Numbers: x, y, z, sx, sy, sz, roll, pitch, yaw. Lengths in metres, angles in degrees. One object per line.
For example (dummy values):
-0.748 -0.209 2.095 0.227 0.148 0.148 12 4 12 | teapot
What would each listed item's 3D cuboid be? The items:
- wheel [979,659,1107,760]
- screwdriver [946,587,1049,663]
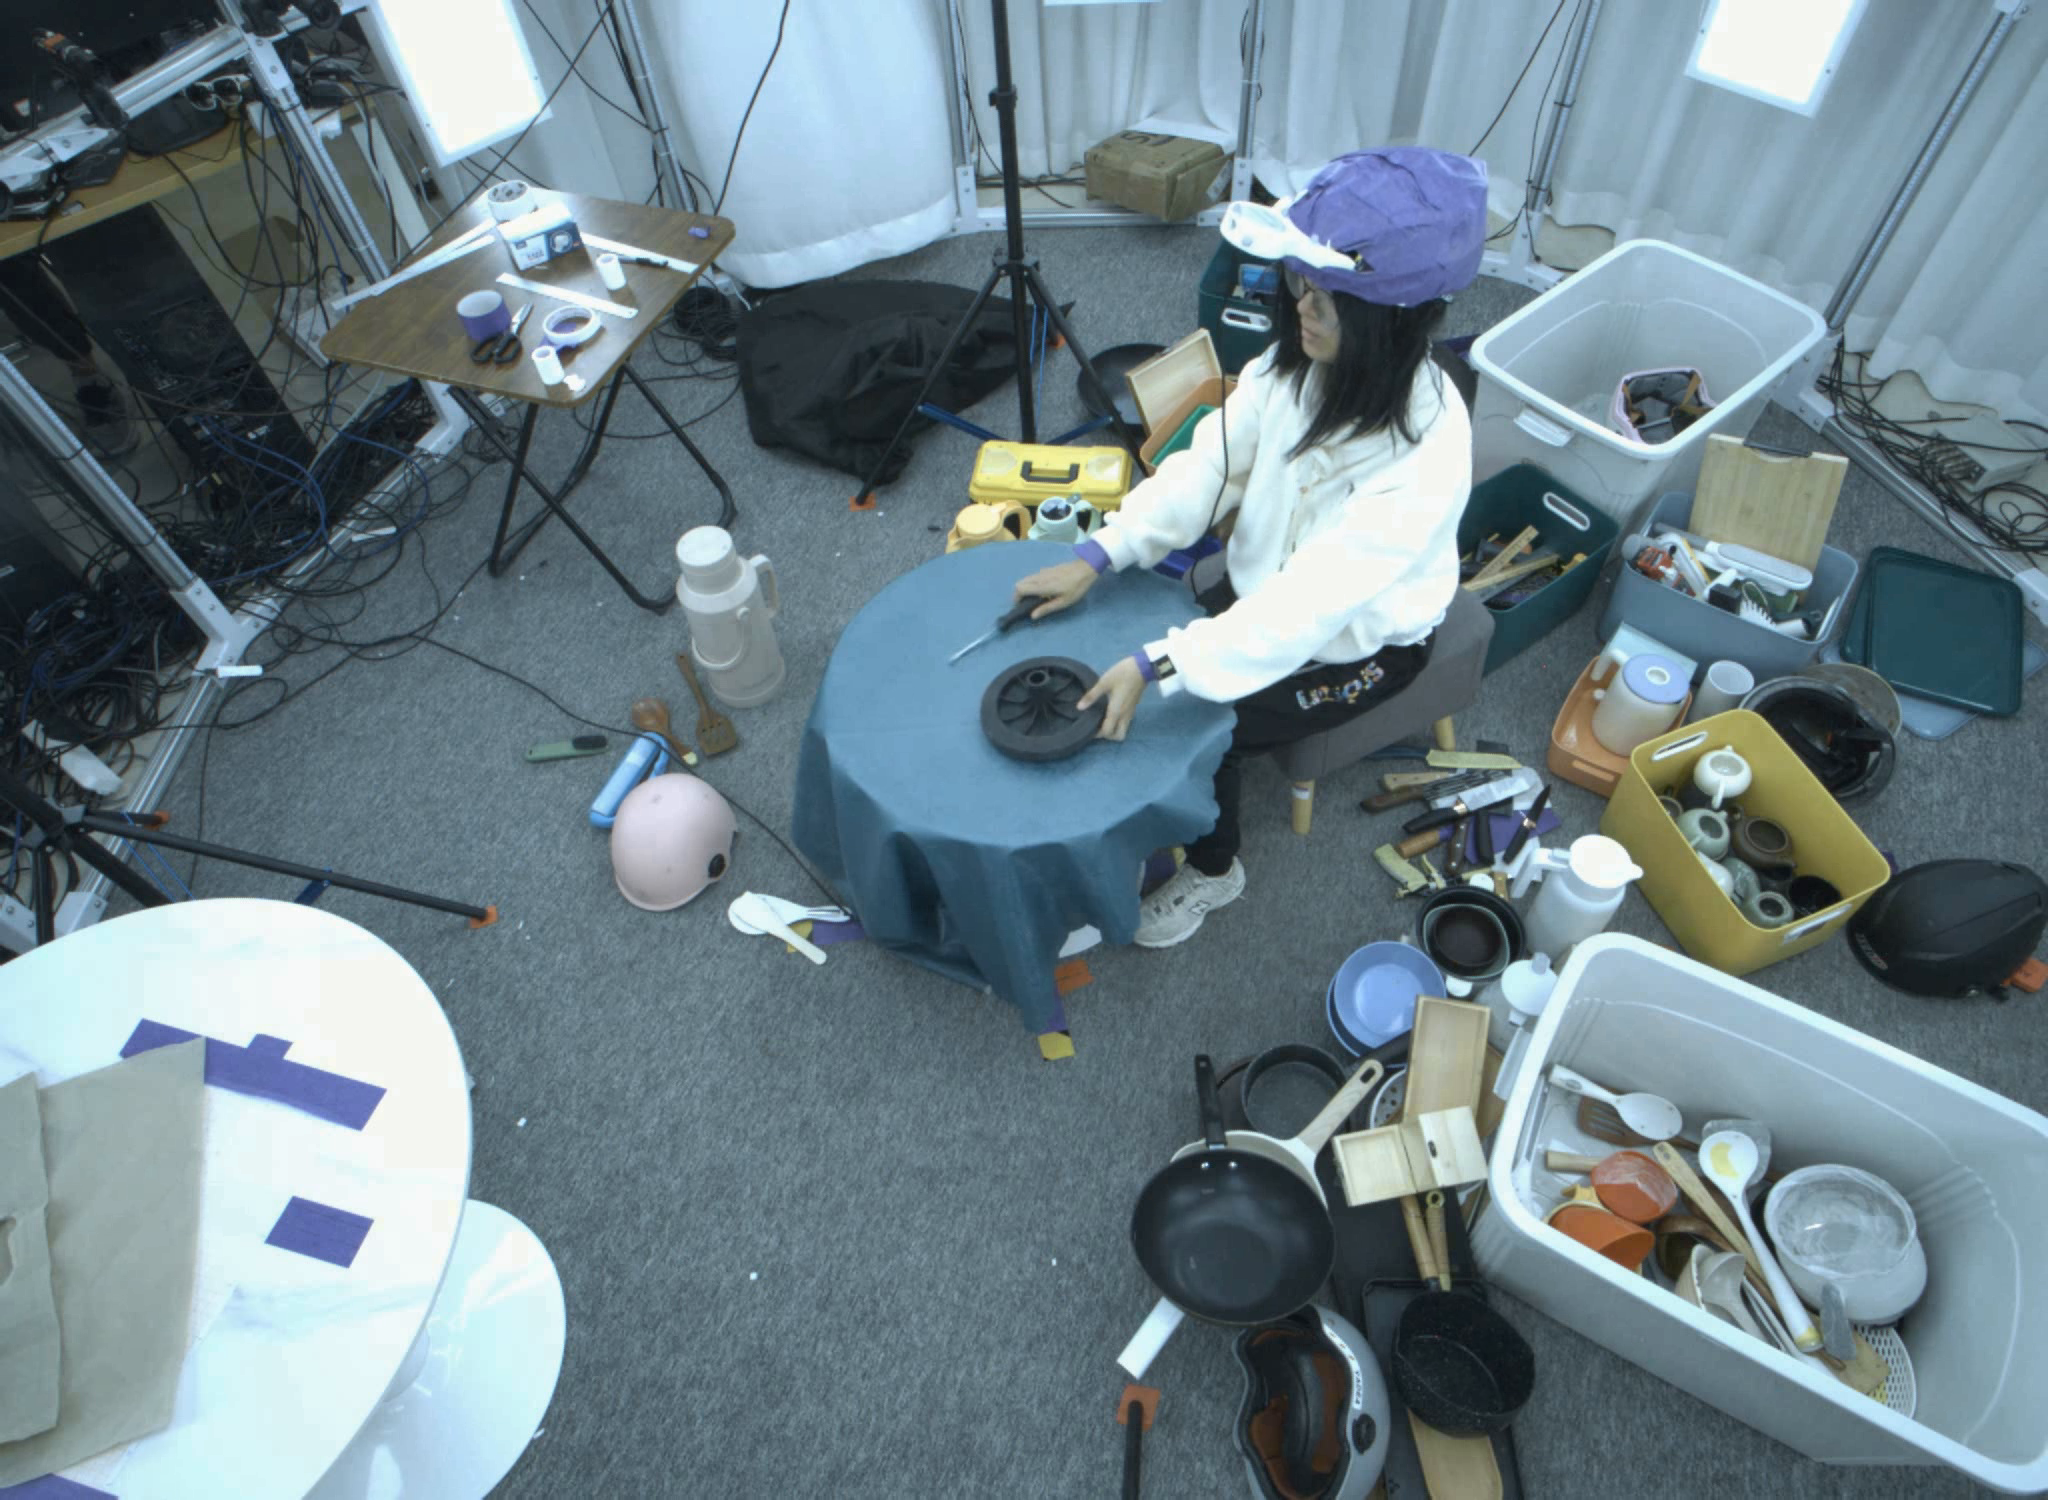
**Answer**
0.024 -0.076 1.790 0.188 0.080 0.185 -35 52 -17 | wheel
-0.044 -0.196 1.910 0.199 0.032 0.031 -34 60 -14 | screwdriver
